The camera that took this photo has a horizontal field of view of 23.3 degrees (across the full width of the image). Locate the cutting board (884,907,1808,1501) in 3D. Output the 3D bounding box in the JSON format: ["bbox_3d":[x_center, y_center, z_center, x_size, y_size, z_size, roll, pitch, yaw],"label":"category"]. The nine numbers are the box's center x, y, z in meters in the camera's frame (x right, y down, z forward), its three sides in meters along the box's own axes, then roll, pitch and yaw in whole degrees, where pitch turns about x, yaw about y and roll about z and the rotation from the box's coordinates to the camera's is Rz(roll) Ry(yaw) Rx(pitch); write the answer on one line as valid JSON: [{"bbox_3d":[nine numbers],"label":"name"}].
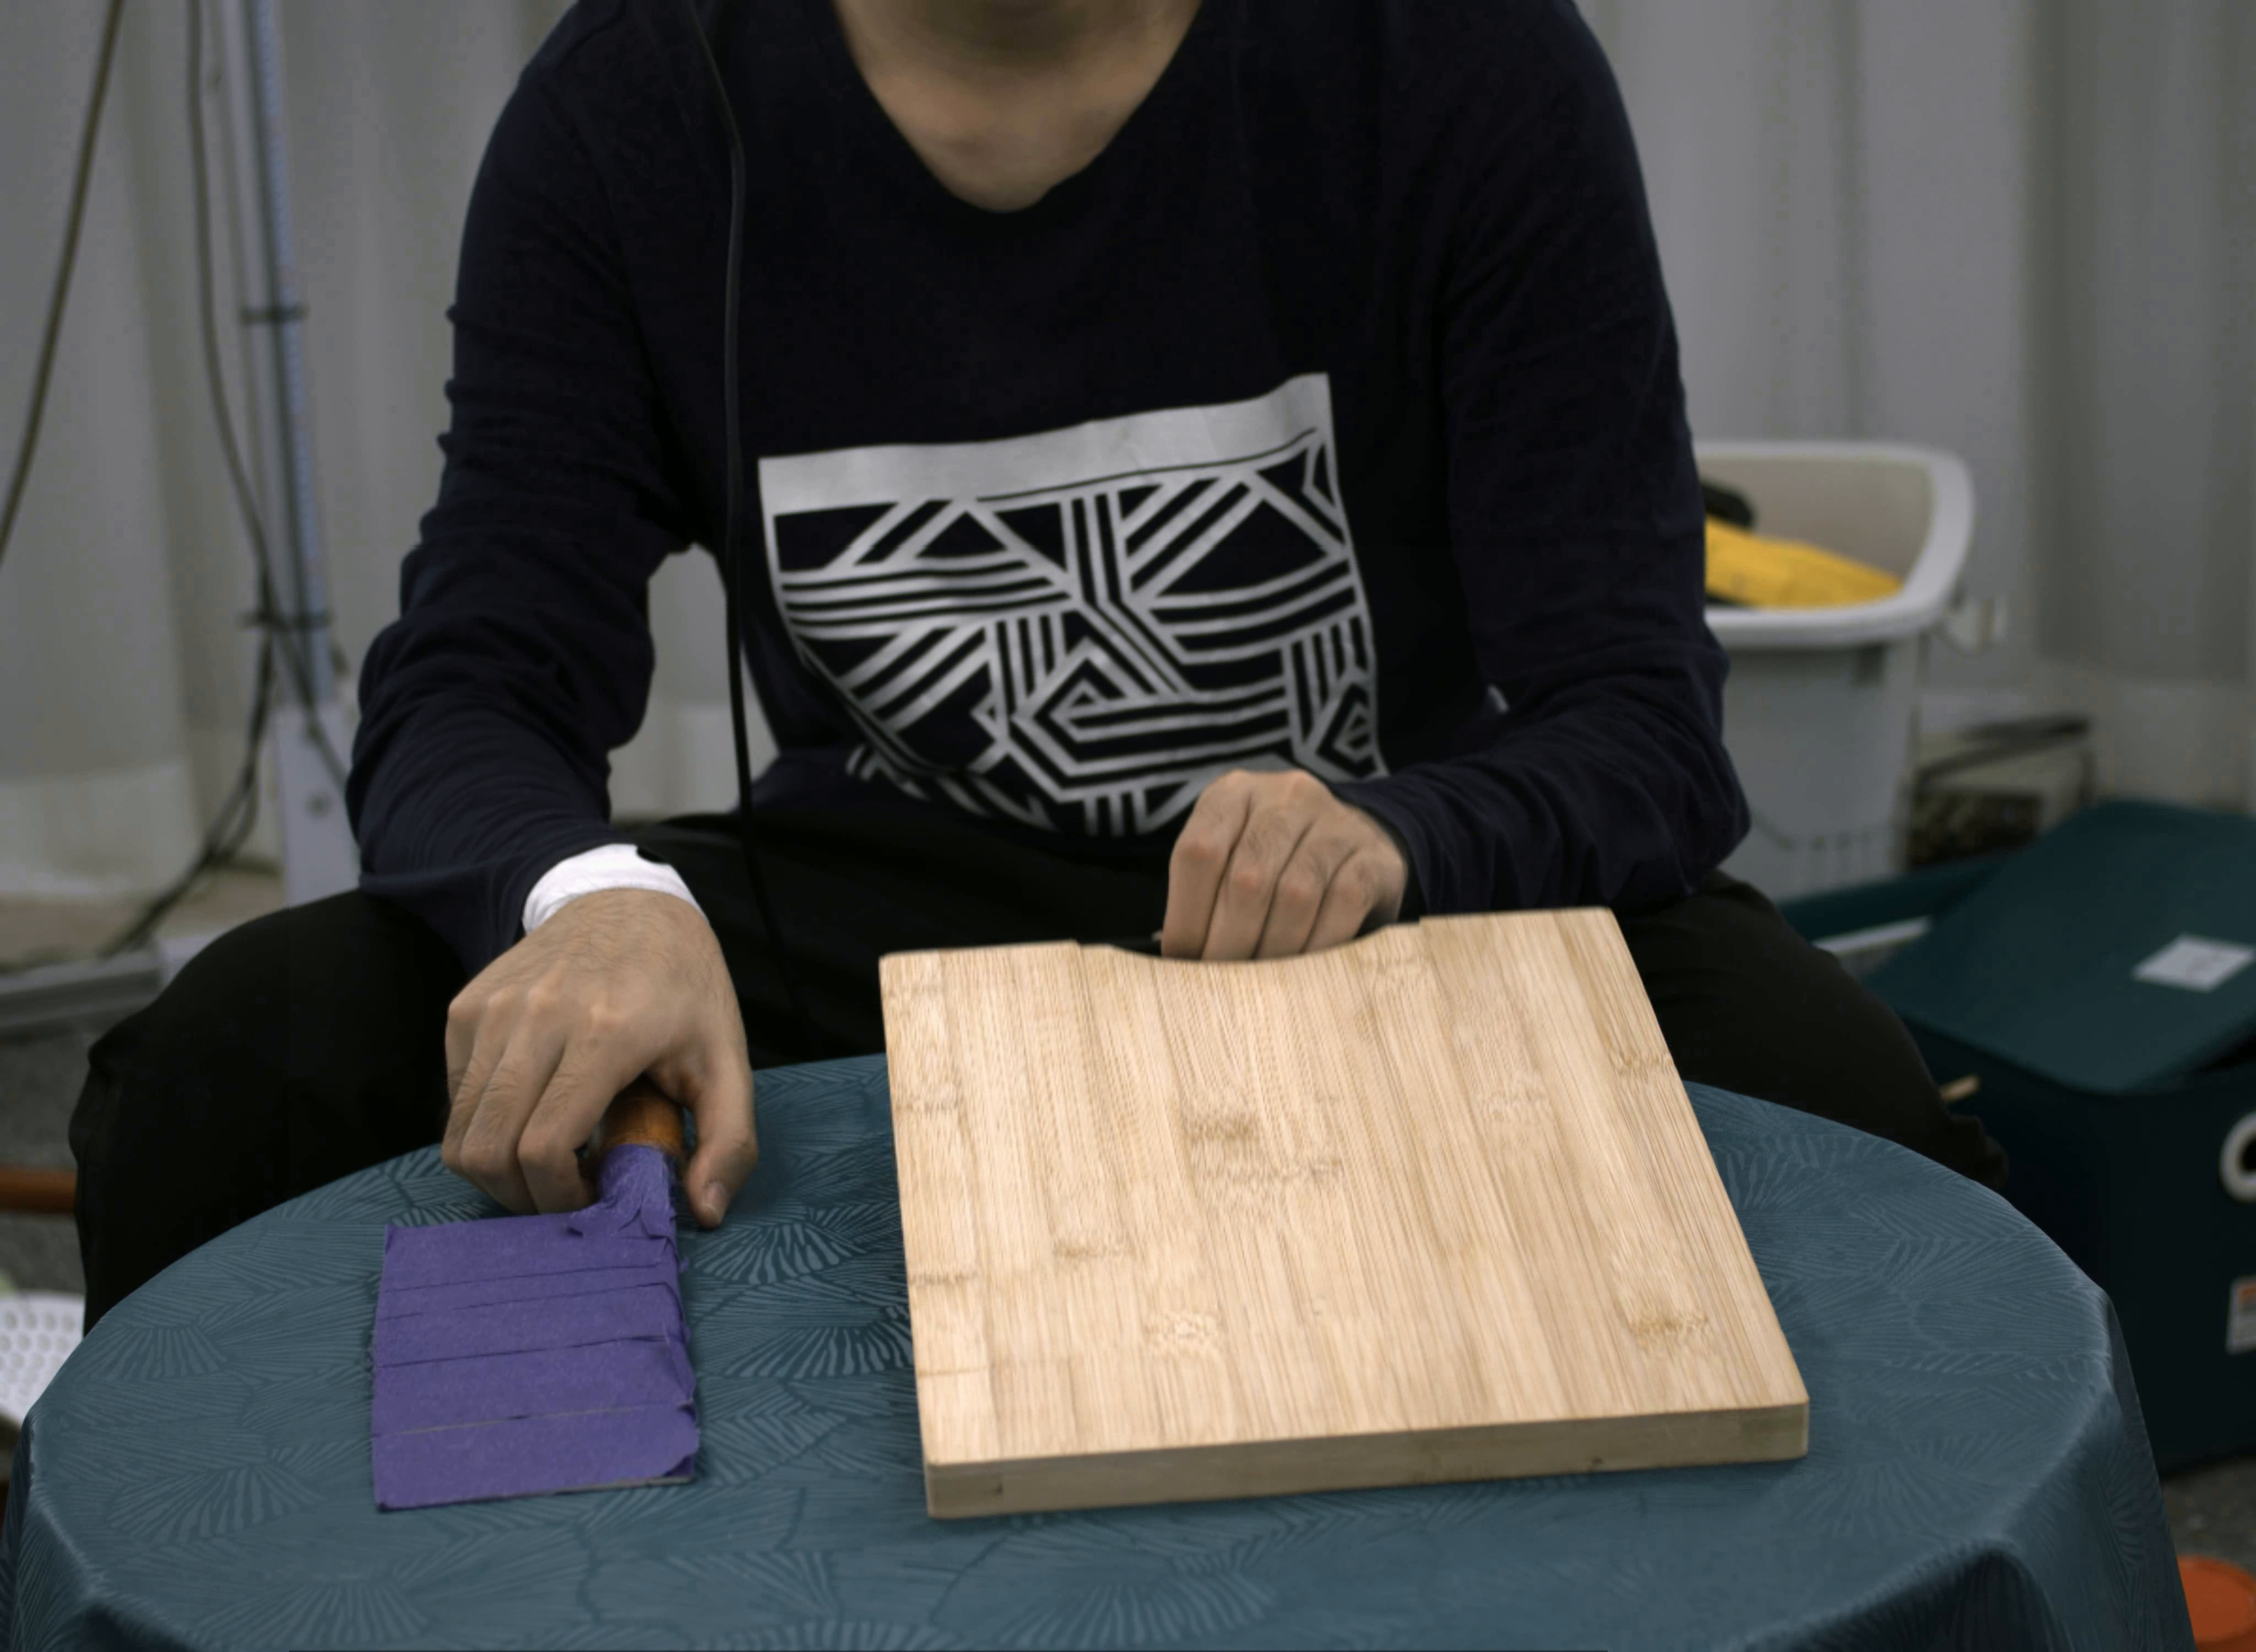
[{"bbox_3d":[0.052,0.106,1.624,0.250,0.023,0.352,-4,22,-4],"label":"cutting board"}]

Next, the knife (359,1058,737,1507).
[{"bbox_3d":[-0.177,0.132,1.633,0.103,0.032,0.317,-4,15,-6],"label":"knife"}]
